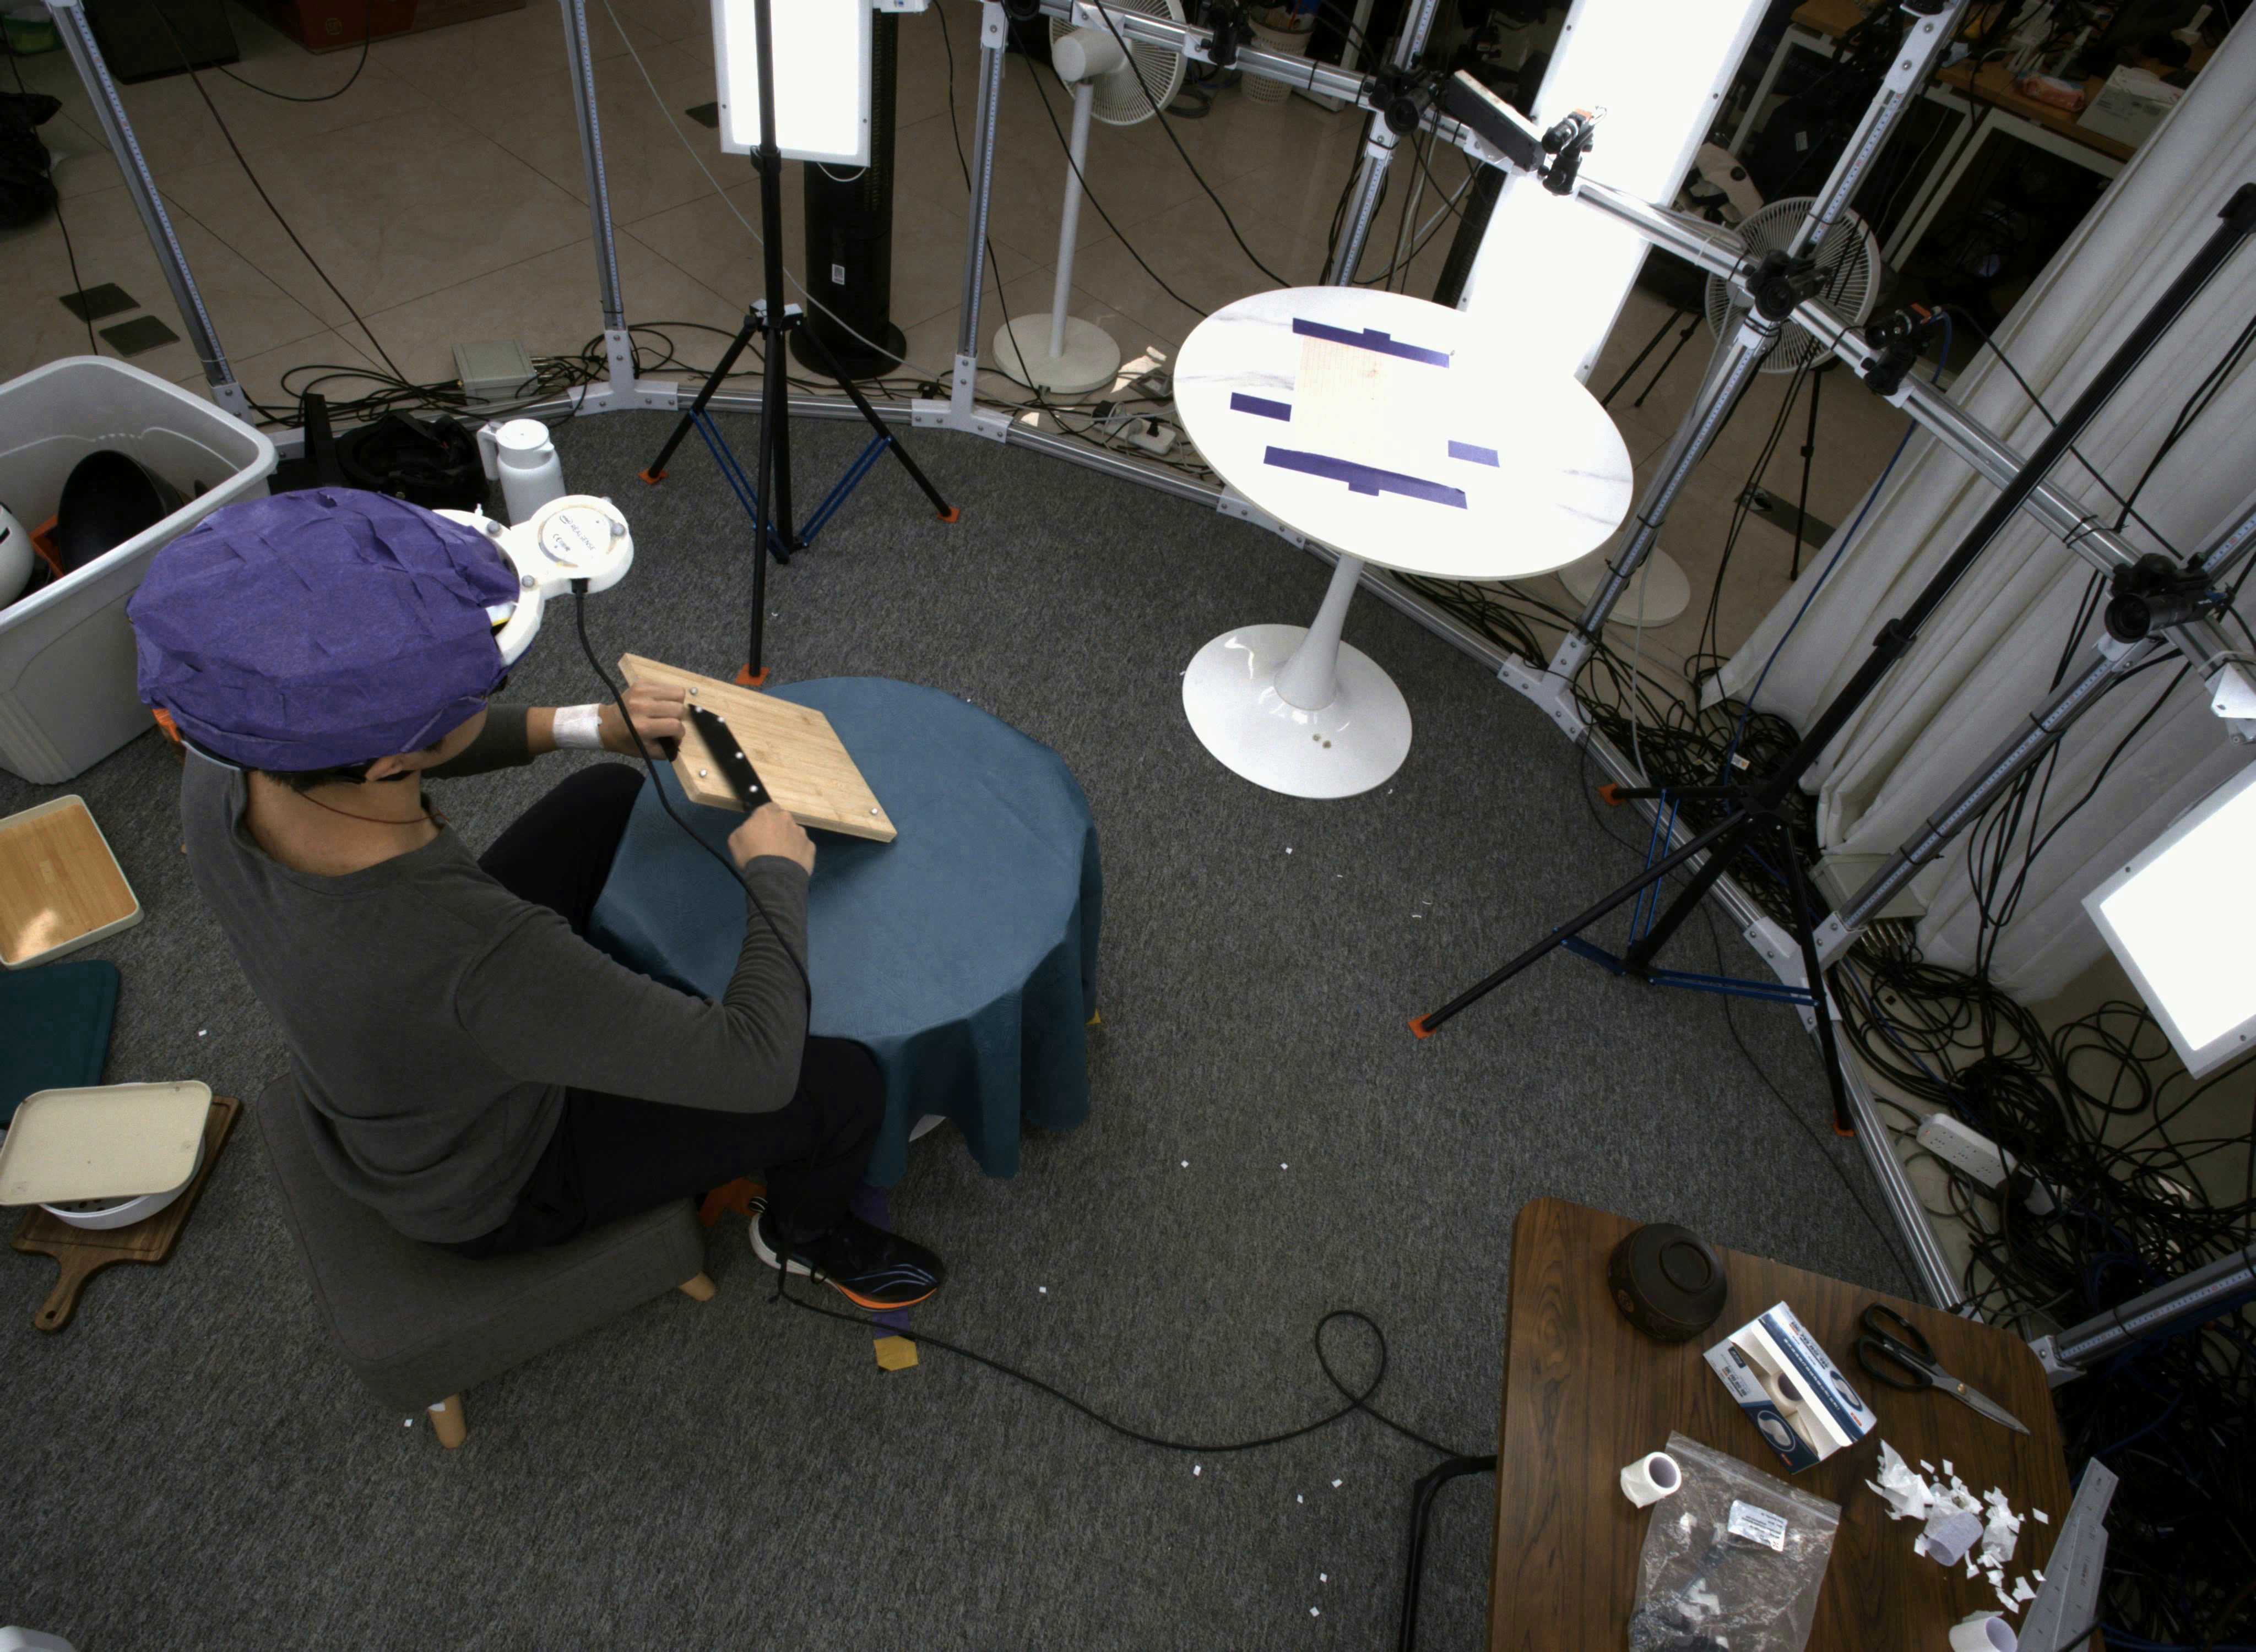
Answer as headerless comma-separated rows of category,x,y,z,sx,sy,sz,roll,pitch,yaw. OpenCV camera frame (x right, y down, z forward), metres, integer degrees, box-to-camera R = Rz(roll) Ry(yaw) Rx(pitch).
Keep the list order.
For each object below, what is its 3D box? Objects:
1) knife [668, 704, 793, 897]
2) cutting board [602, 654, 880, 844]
knife,-0.461,-0.035,1.506,0.021,0.083,0.294,-42,62,11
cutting board,-0.486,-0.093,1.632,0.244,0.023,0.357,53,18,25
